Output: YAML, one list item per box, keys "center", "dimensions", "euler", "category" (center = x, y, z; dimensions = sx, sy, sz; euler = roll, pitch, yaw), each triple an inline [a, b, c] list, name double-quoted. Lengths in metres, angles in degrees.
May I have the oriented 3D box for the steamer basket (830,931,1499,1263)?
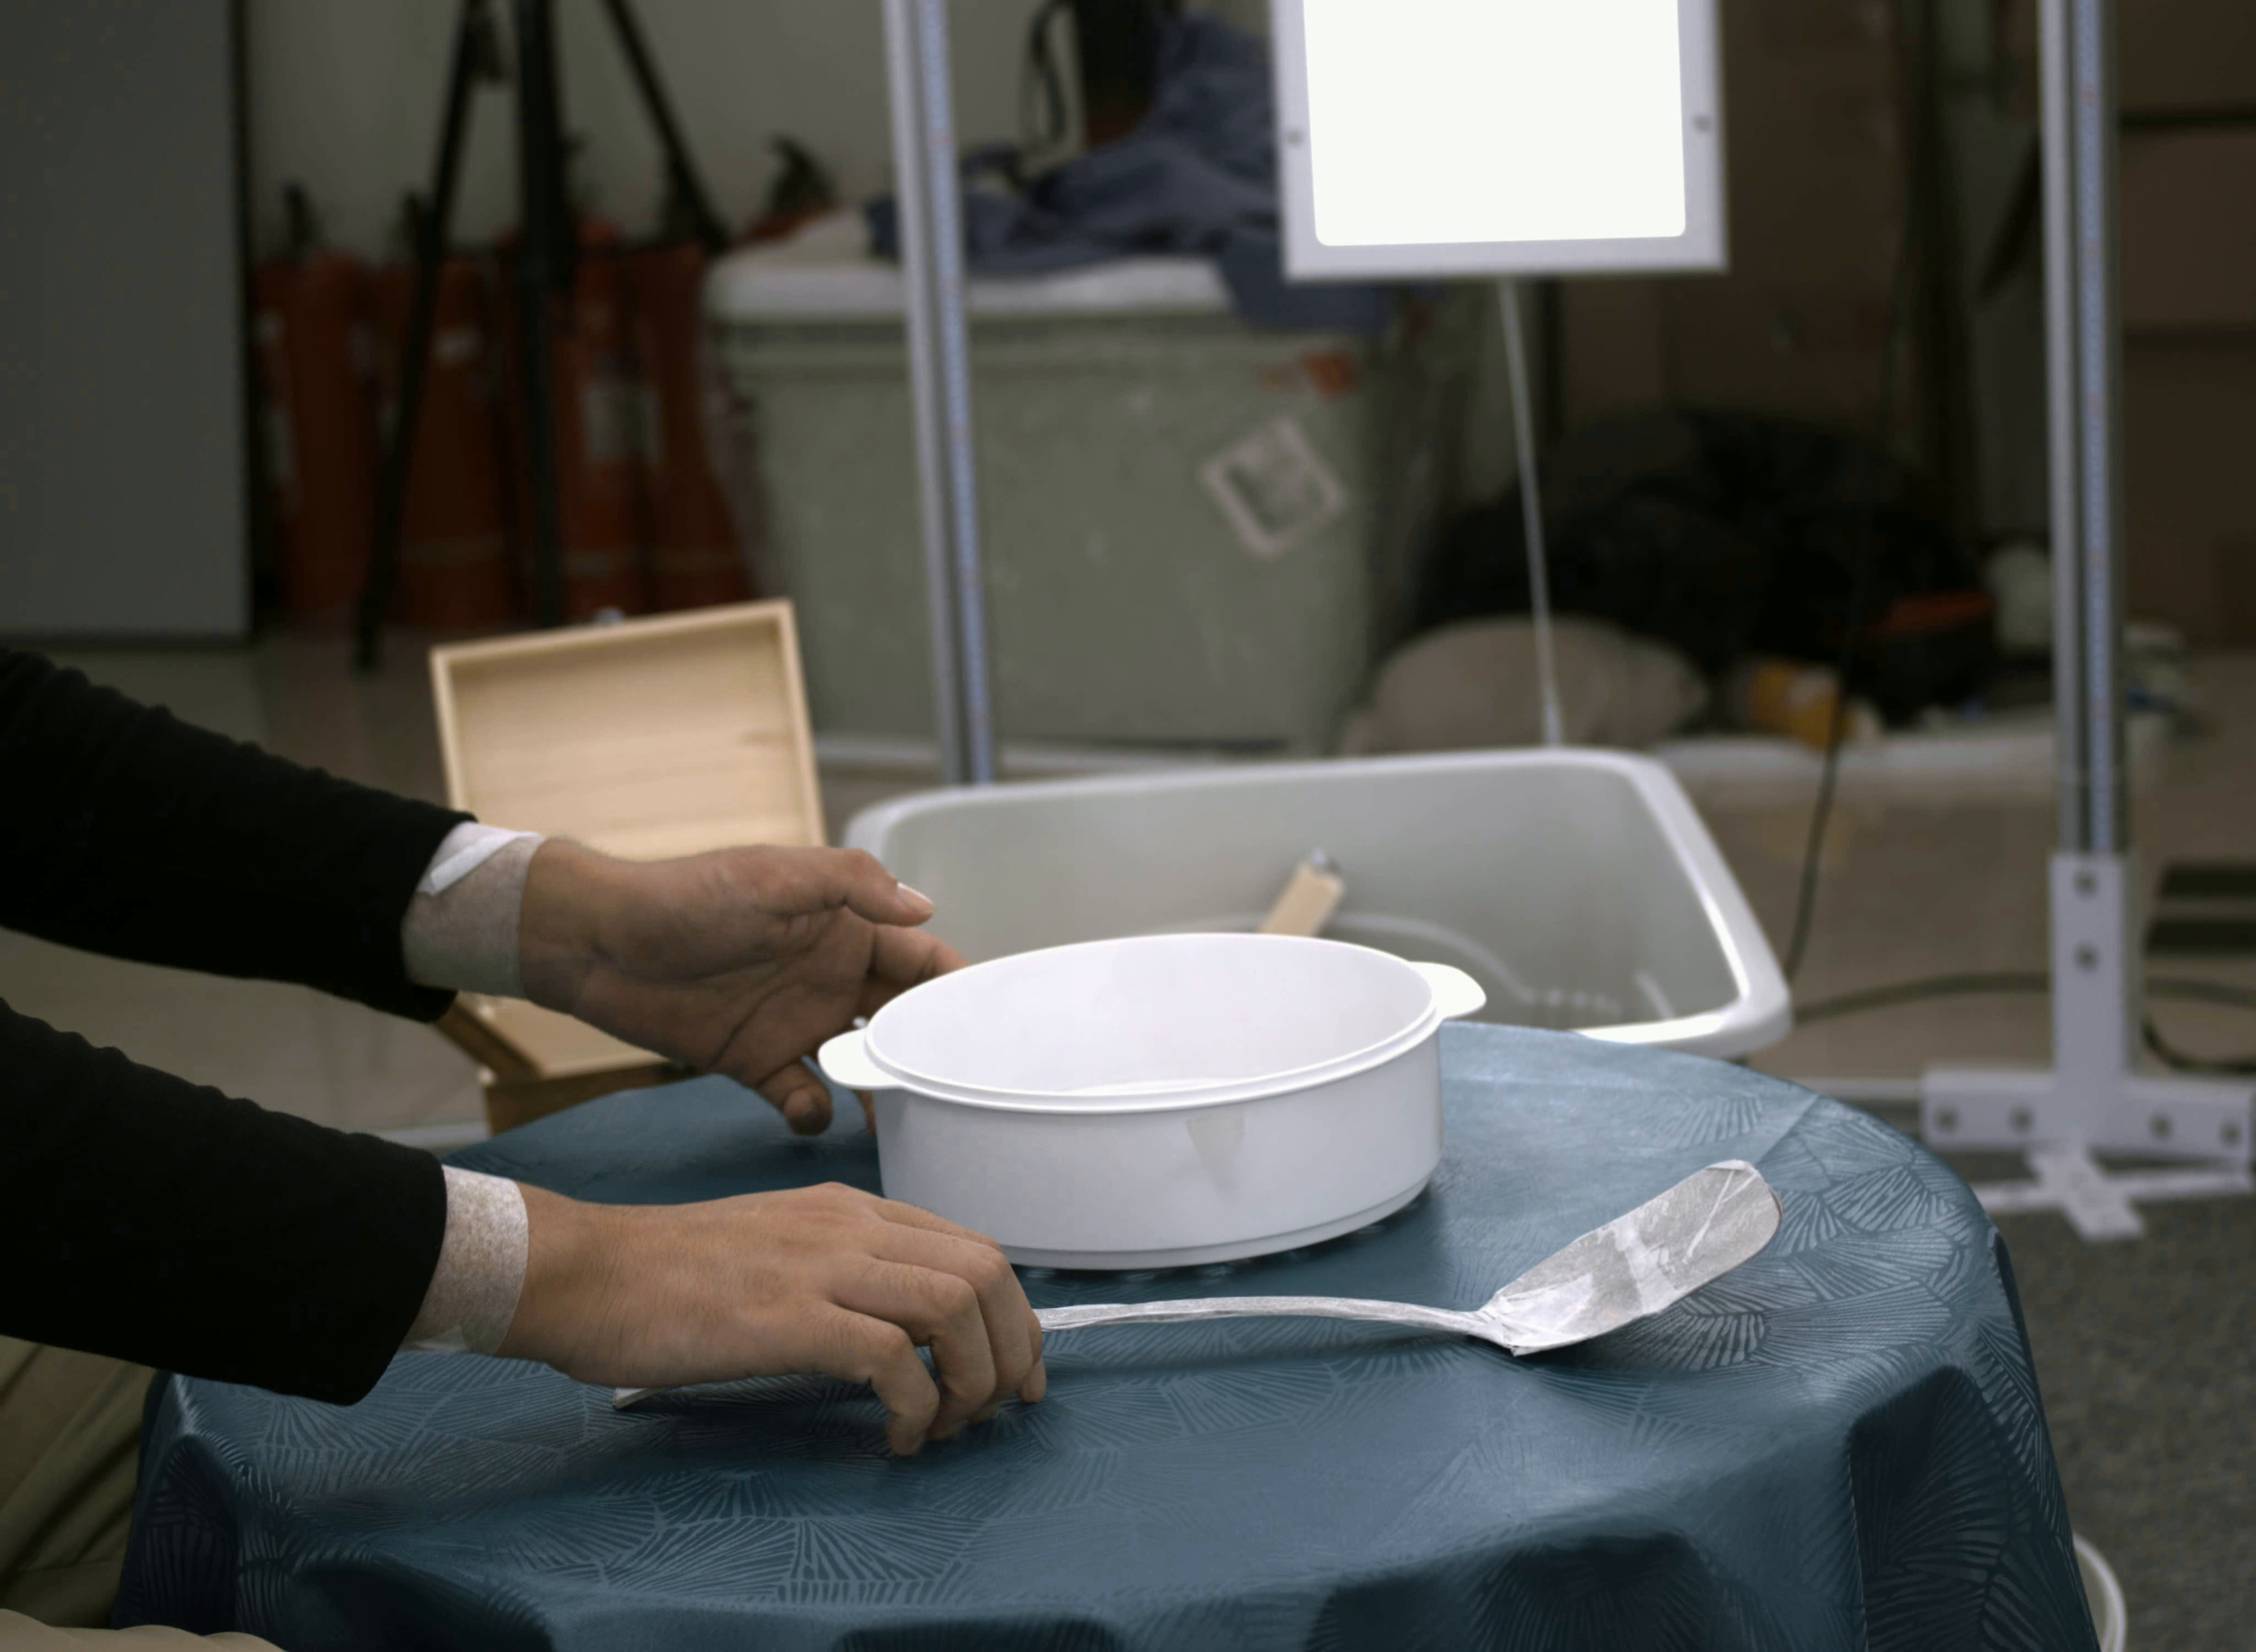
- center: [0.015, 0.093, 1.882]
  dimensions: [0.228, 0.069, 0.203]
  euler: [-8, 13, -7]
  category: "steamer basket"

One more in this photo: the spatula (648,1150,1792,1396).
- center: [0.027, 0.147, 1.725]
  dimensions: [0.365, 0.045, 0.098]
  euler: [-4, 16, 3]
  category: "spatula"
